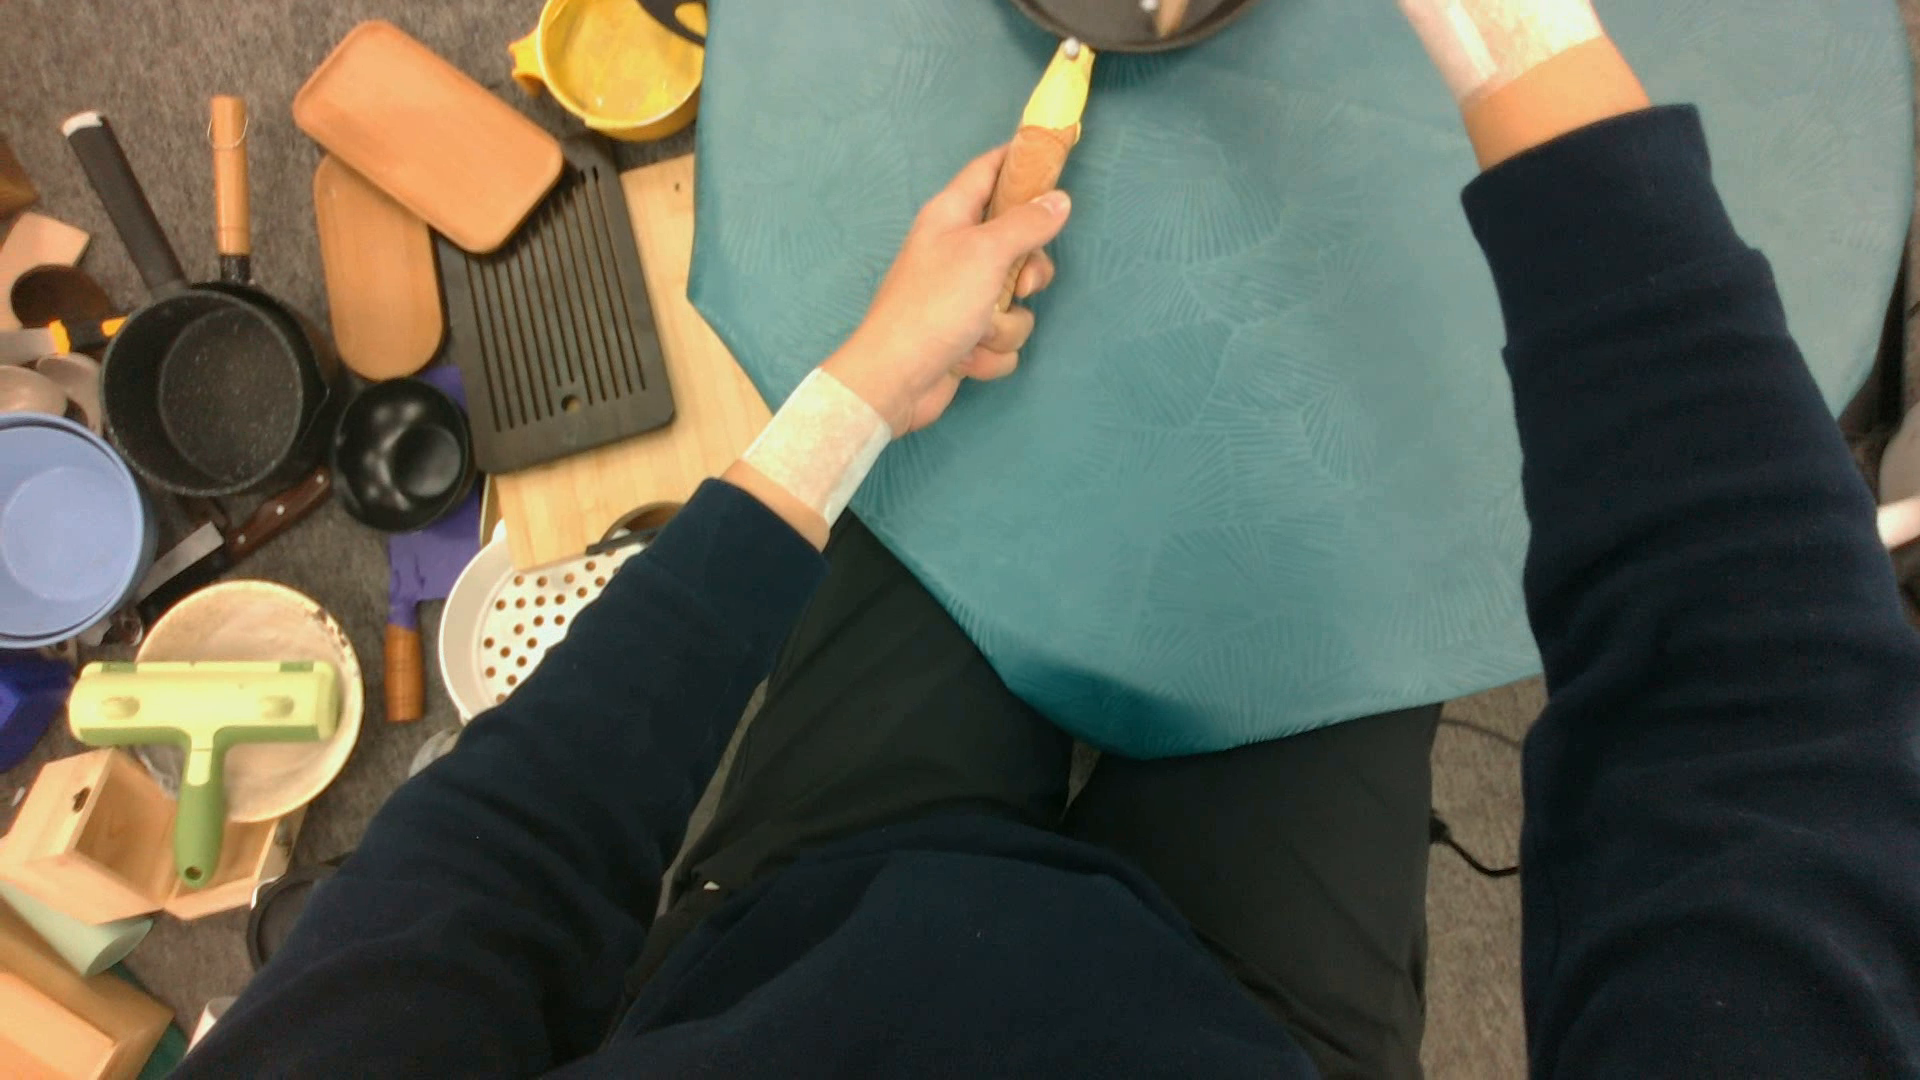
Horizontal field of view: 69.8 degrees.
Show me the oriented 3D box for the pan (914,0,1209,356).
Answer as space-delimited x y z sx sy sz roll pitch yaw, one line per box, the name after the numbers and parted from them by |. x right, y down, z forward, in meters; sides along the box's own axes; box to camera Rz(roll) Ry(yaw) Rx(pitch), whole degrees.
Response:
0.039 -0.238 0.656 0.169 0.049 0.324 20 85 2 | pan

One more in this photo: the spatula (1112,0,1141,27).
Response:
0.072 -0.280 0.524 0.016 0.328 0.080 -10 93 2 | spatula
